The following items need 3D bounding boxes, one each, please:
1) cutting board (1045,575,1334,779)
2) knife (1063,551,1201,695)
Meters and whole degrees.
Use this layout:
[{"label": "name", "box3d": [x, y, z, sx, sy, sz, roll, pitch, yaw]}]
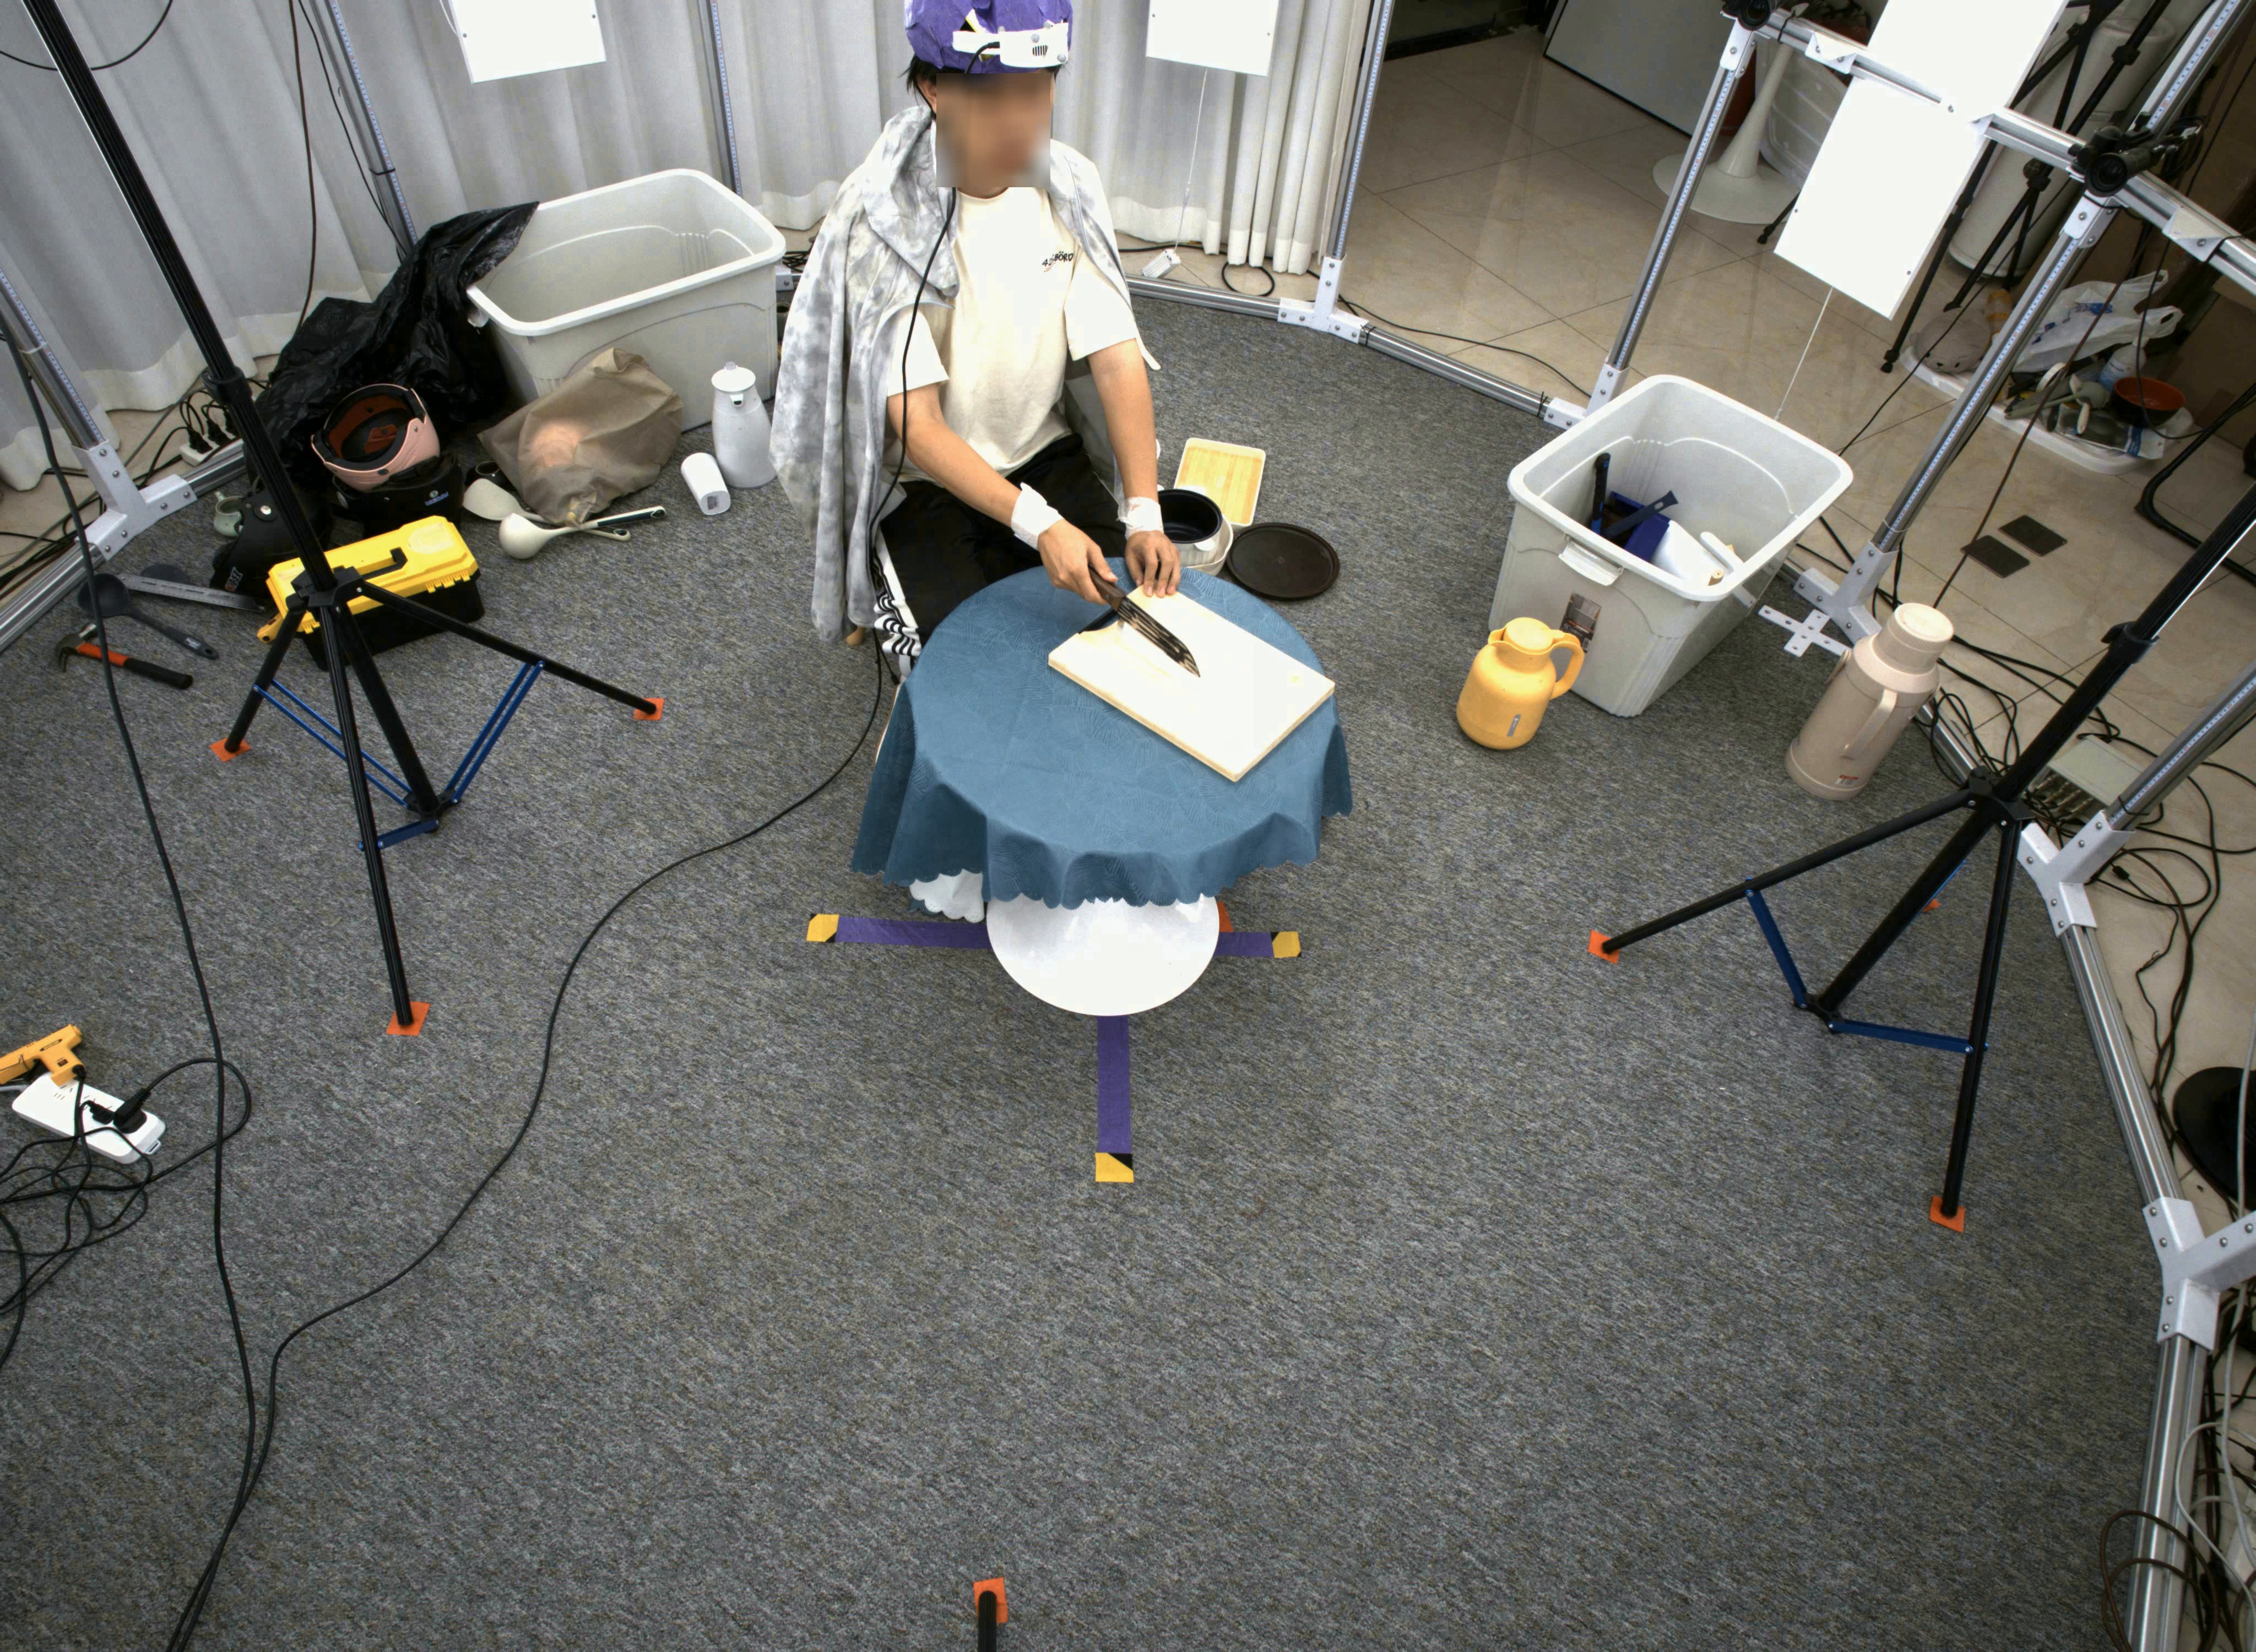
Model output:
[{"label": "cutting board", "box3d": [0.087, -0.223, 1.850, 0.353, 0.023, 0.253, 33, 54, 23]}, {"label": "knife", "box3d": [0.006, -0.292, 1.843, 0.024, 0.066, 0.304, -28, 59, -34]}]
